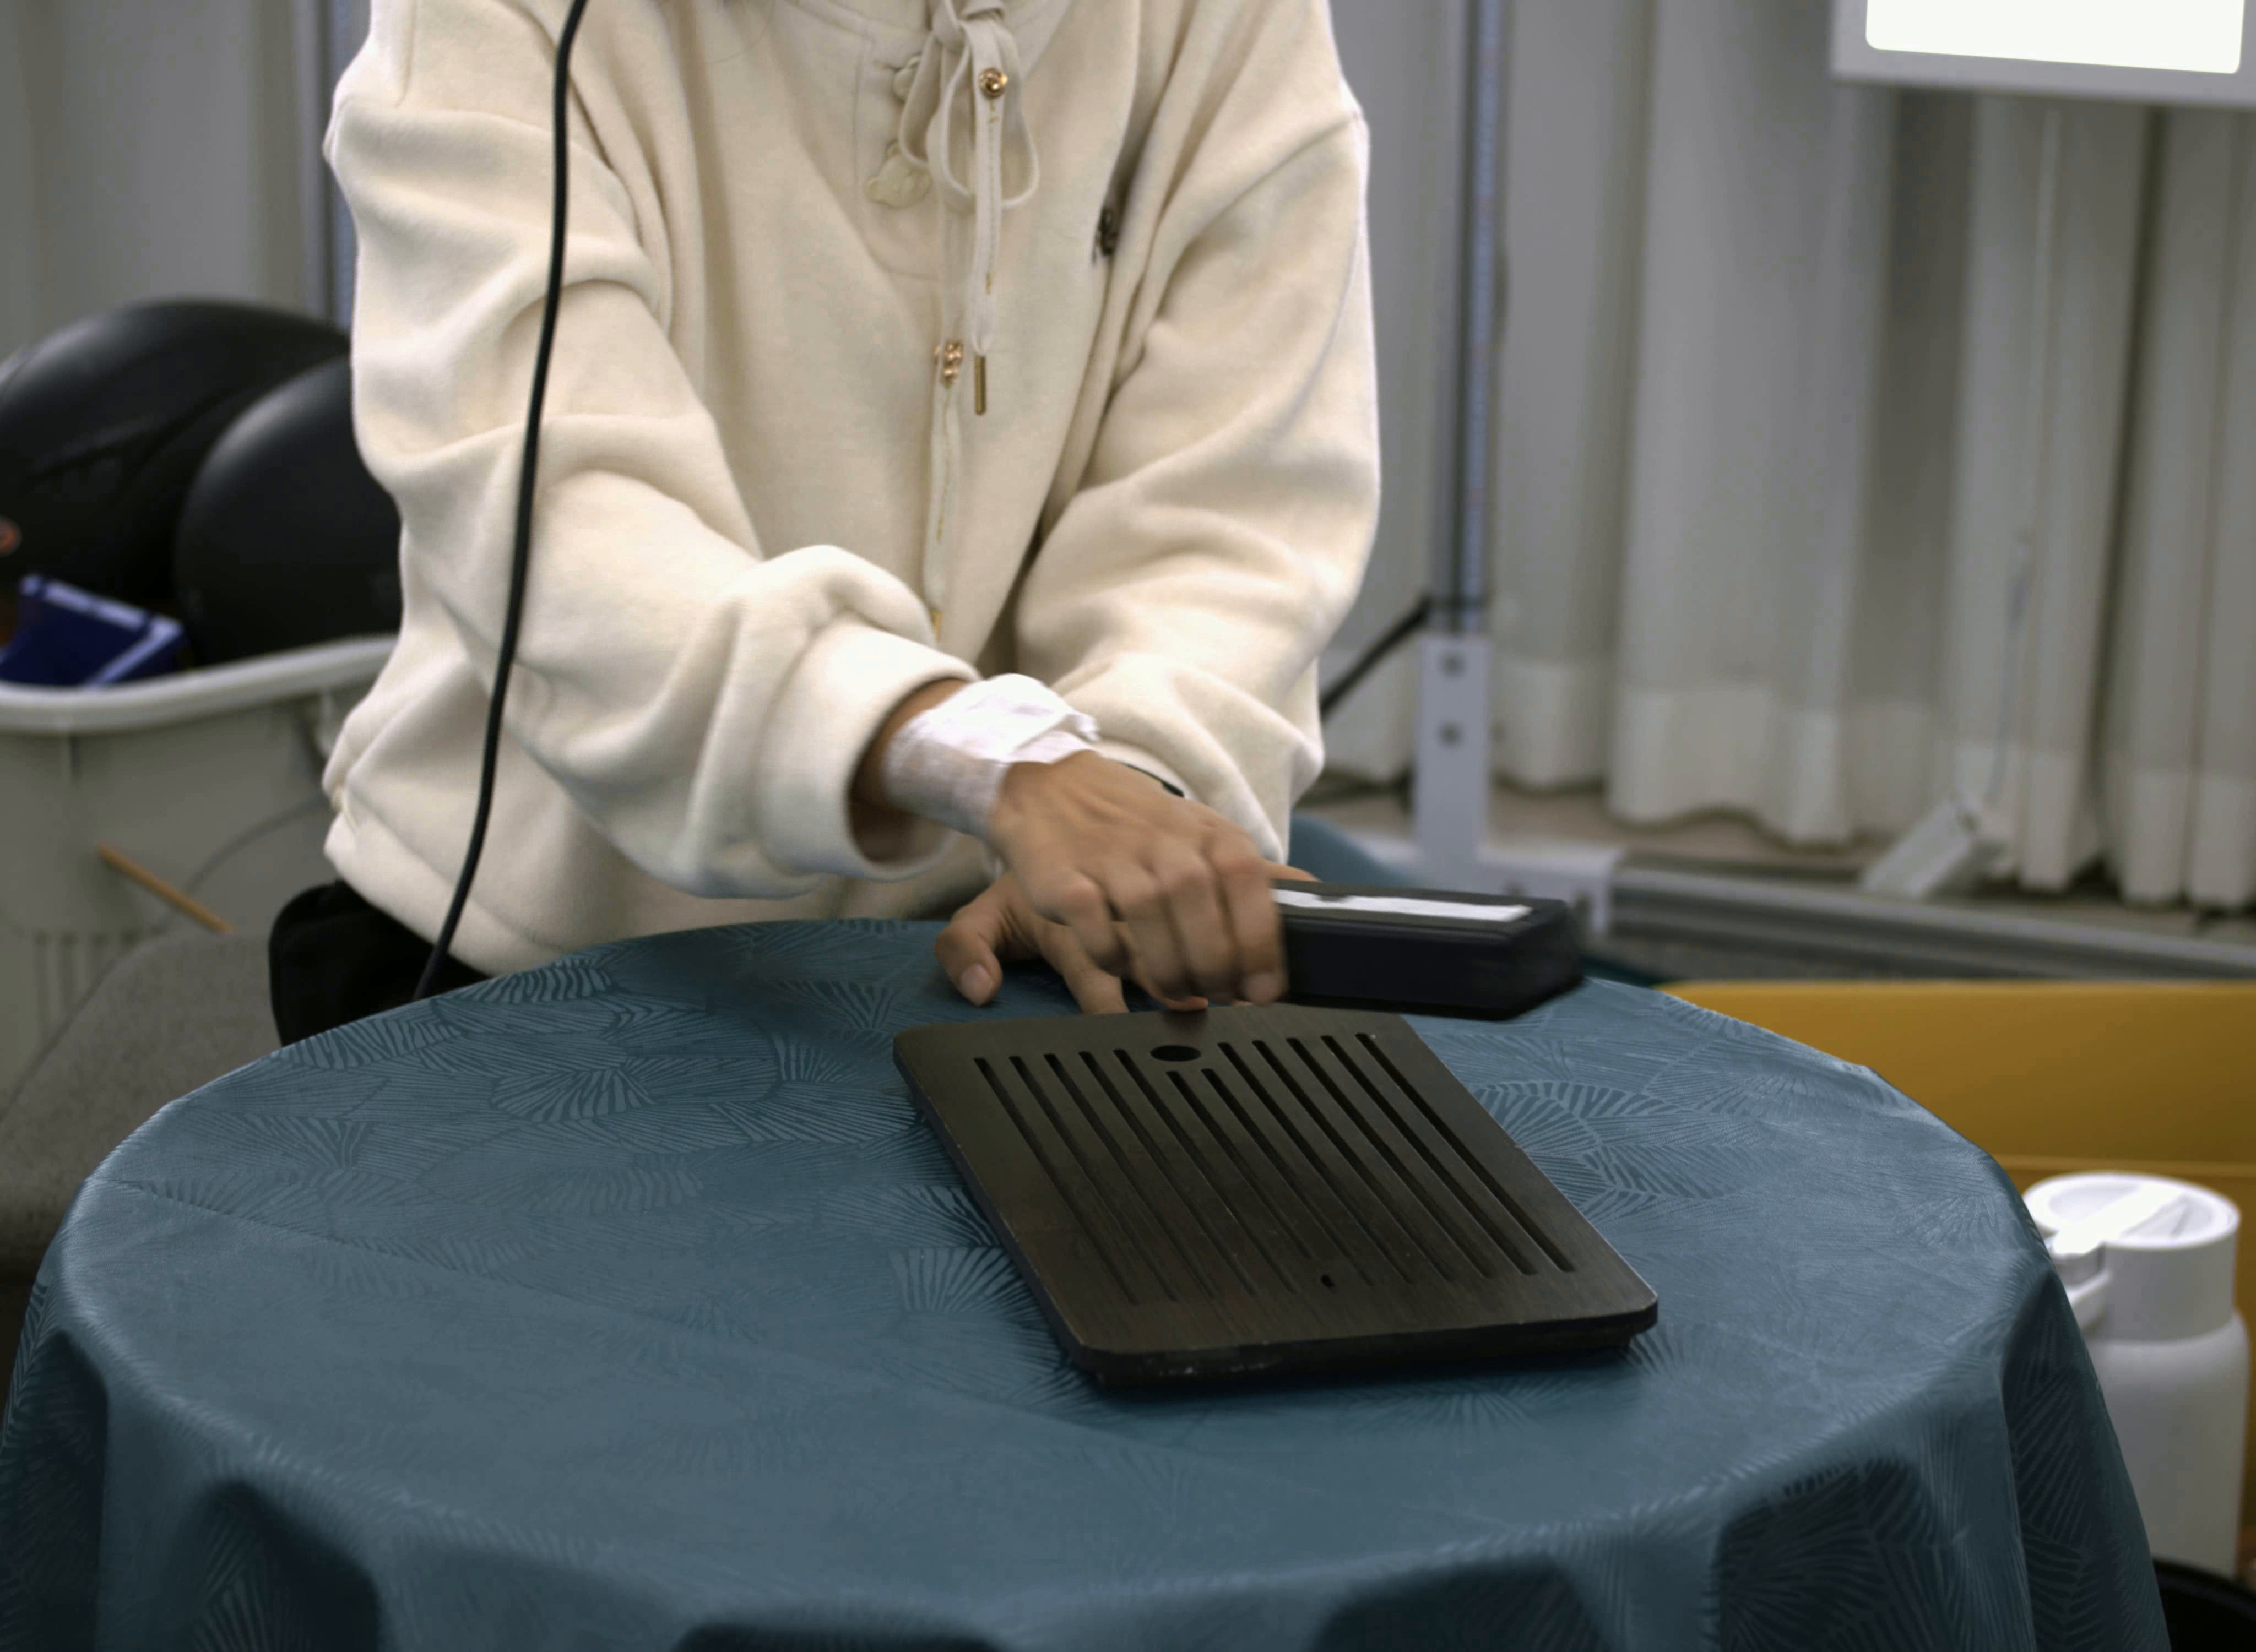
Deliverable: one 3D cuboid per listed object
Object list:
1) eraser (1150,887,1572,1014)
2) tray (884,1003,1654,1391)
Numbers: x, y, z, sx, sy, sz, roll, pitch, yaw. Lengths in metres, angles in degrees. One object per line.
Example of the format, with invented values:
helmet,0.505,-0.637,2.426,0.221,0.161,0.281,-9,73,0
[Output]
eraser,0.073,0.038,1.639,0.124,0.030,0.054,2,10,30
tray,0.035,0.109,1.600,0.170,0.019,0.303,-3,16,-13
